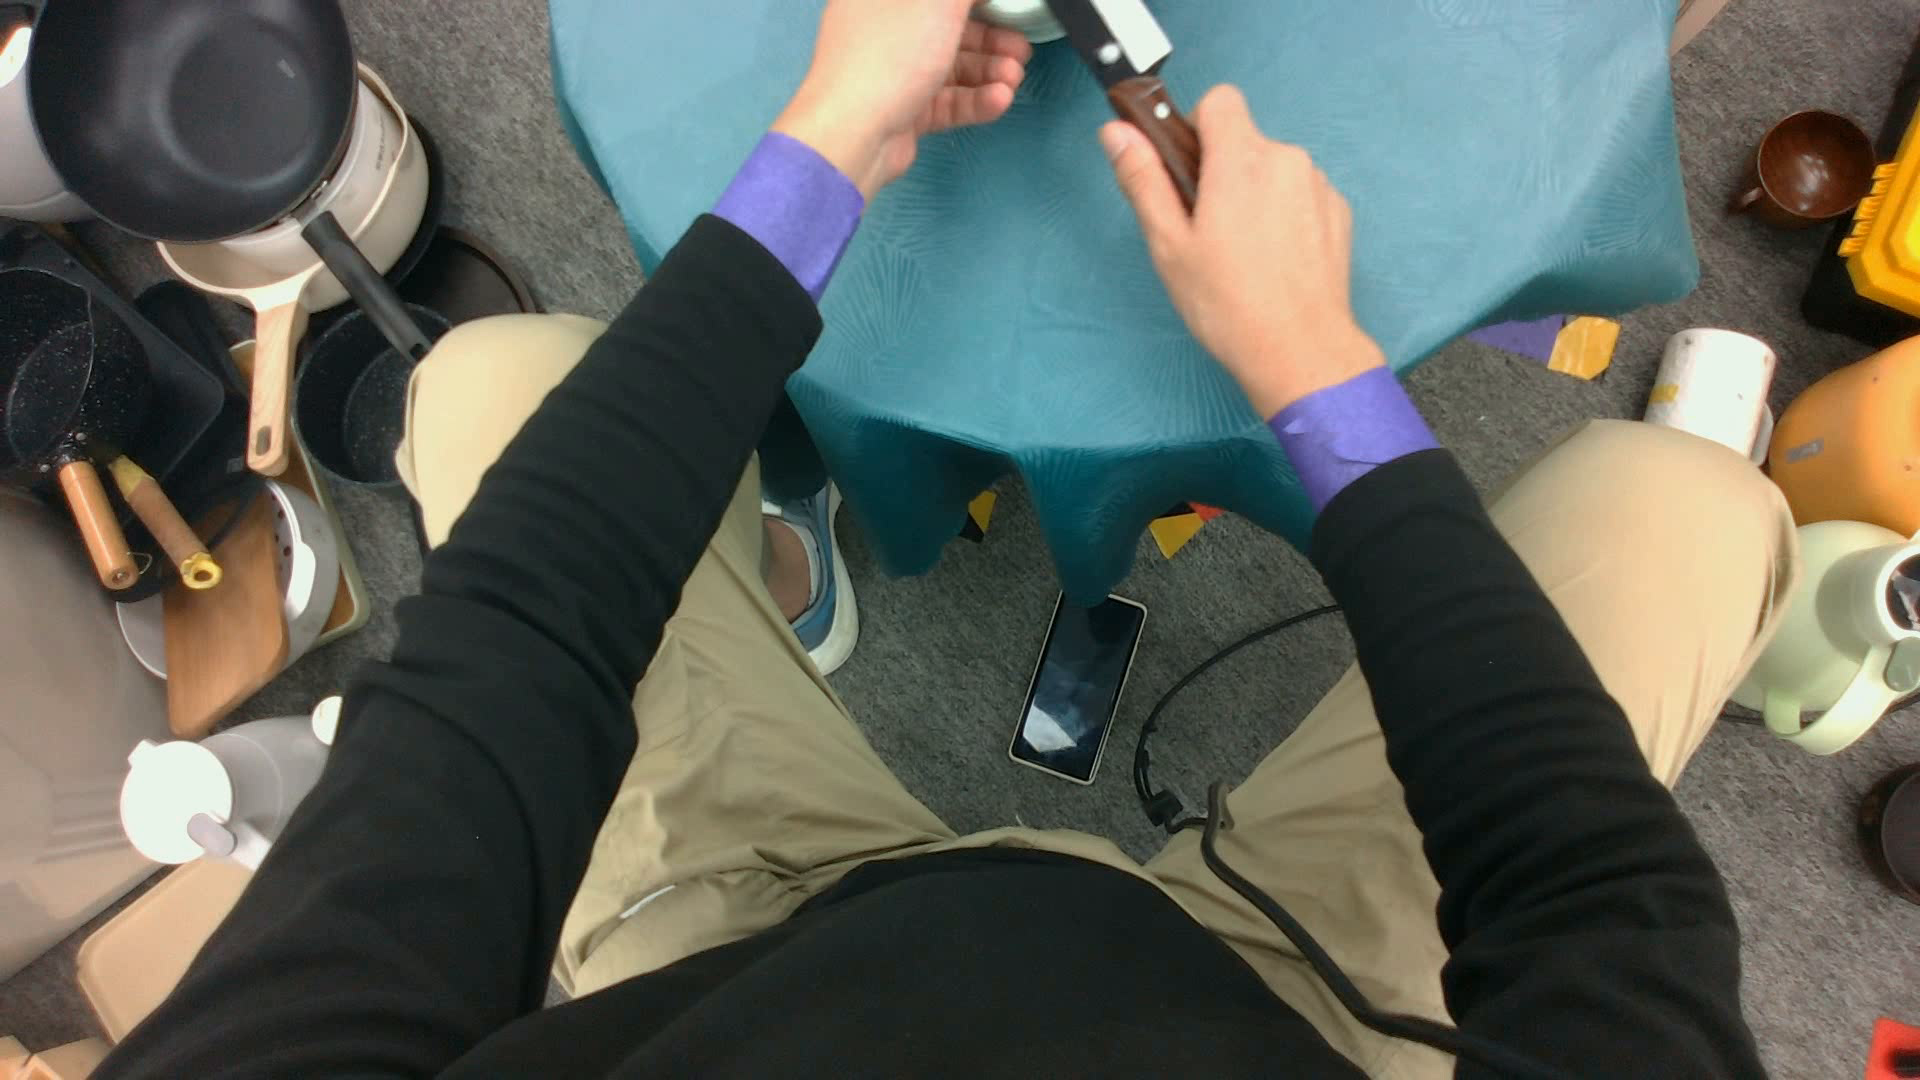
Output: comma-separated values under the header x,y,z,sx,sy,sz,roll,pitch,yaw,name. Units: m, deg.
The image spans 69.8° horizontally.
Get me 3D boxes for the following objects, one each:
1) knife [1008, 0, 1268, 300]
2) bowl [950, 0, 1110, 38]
x,y,z,sx,sy,sz,roll,pitch,yaw,name
0.054,-0.230,0.628,0.050,0.020,0.289,-43,102,-27,knife
0.039,-0.308,0.684,0.151,0.058,0.152,-3,70,7,bowl
